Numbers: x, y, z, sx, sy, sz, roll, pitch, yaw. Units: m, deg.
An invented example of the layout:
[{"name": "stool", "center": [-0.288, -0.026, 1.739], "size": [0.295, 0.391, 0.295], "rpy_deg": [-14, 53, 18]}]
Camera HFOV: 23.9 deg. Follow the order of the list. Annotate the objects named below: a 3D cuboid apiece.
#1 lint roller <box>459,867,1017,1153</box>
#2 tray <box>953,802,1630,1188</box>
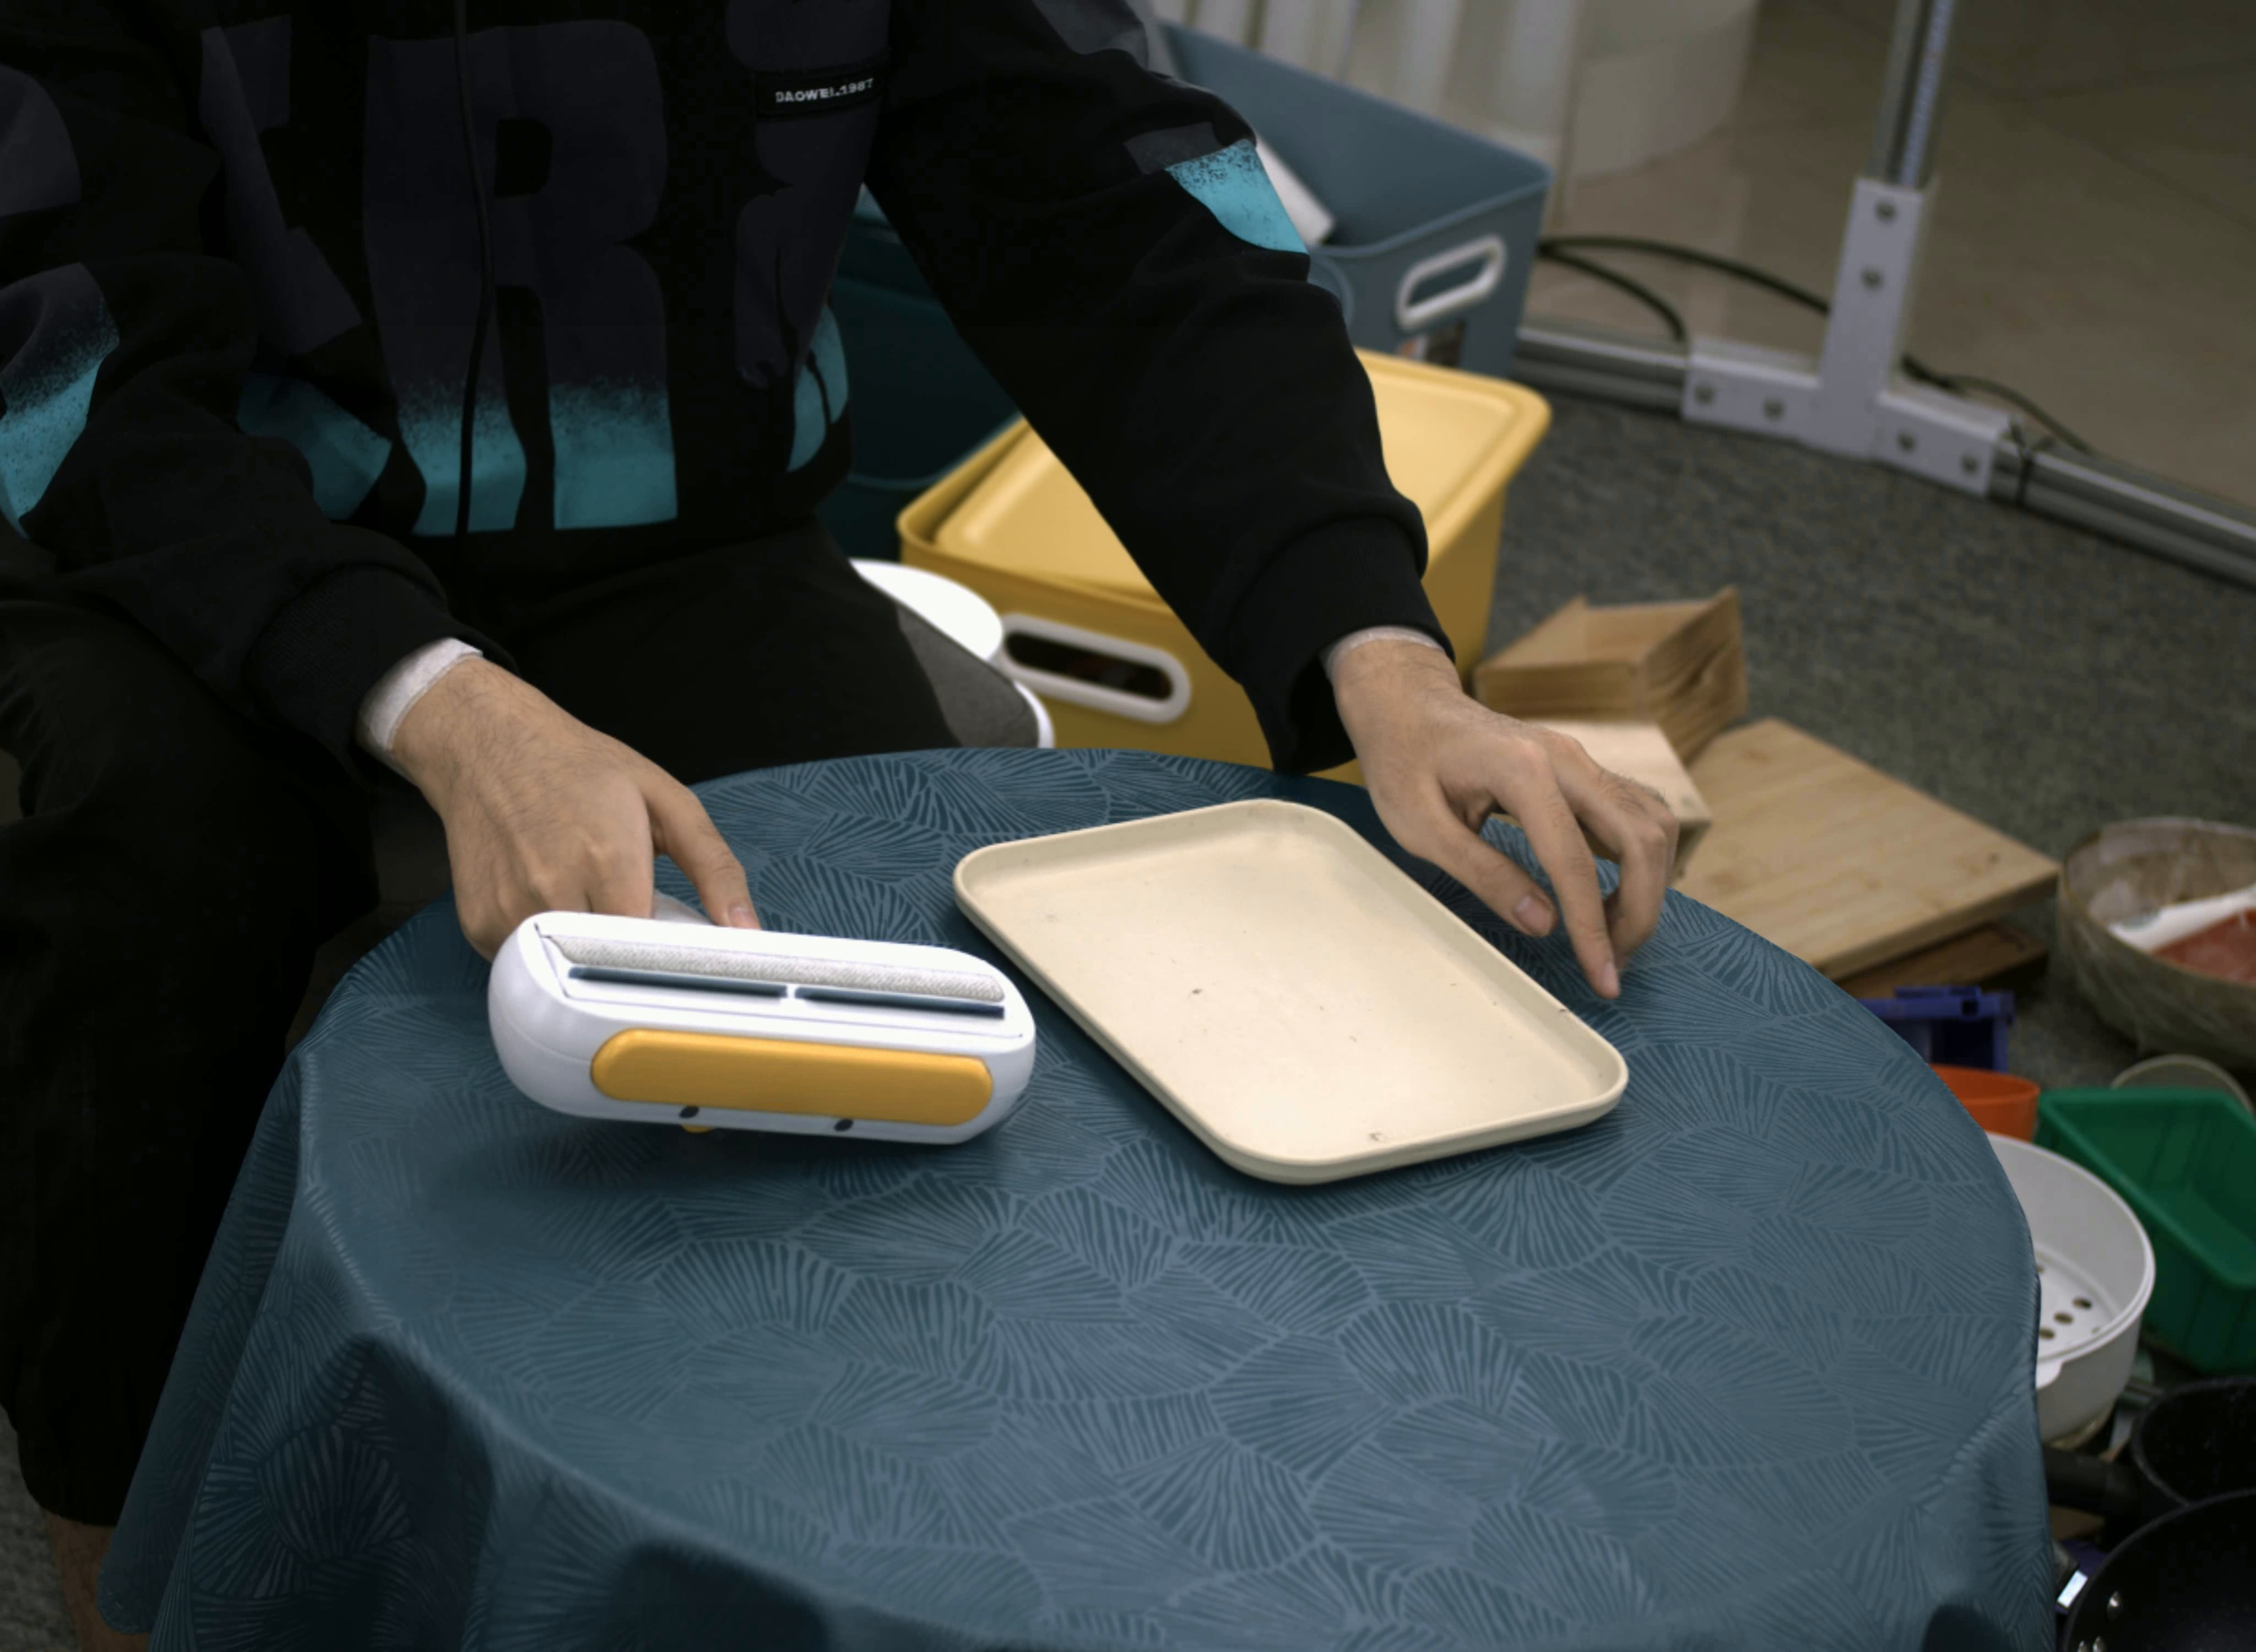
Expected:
[{"name": "lint roller", "center": [-0.150, 0.049, 1.836], "size": [0.191, 0.074, 0.194], "rpy_deg": [3, 25, -22]}, {"name": "tray", "center": [0.056, 0.059, 1.918], "size": [0.170, 0.017, 0.242], "rpy_deg": [-10, 31, -28]}]
